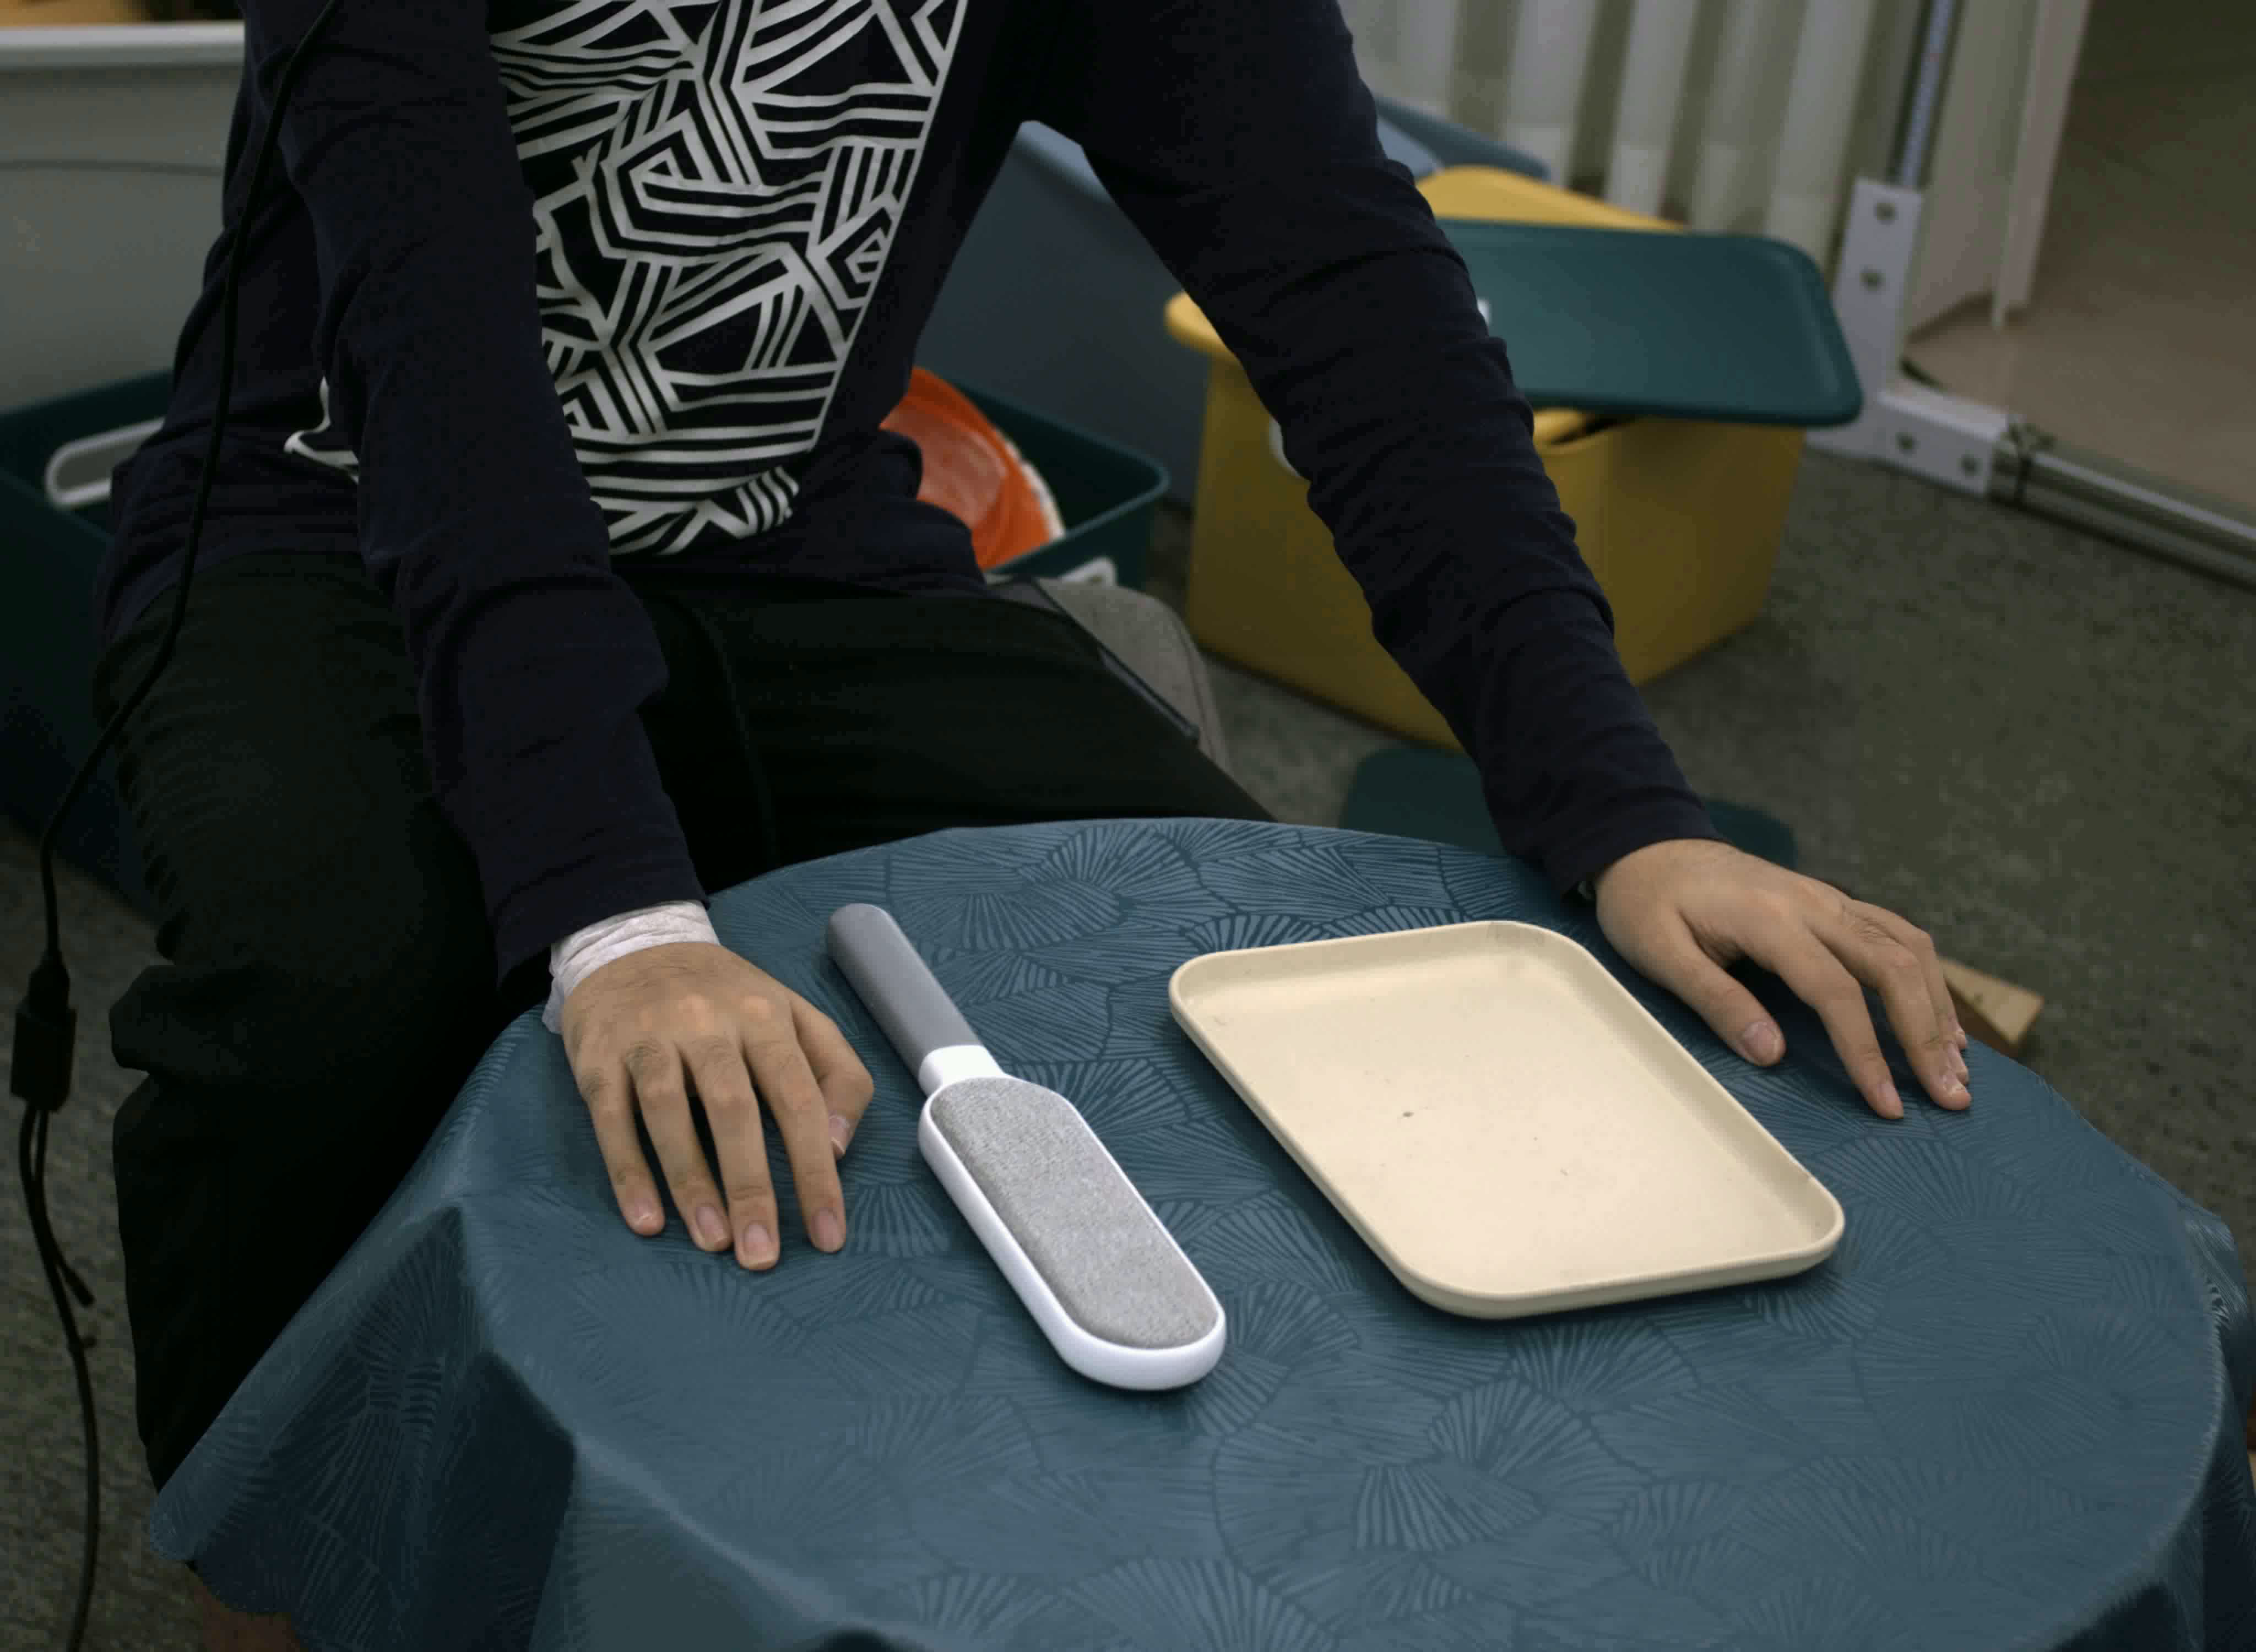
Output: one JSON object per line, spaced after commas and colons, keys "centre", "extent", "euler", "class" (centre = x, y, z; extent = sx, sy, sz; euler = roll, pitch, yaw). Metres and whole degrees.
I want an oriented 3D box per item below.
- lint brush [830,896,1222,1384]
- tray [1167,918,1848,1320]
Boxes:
{"centre": [-0.042, 0.101, 1.811], "extent": [0.060, 0.021, 0.312], "euler": [-10, 30, -19], "class": "lint brush"}
{"centre": [0.129, 0.101, 1.861], "extent": [0.170, 0.017, 0.242], "euler": [-7, 30, -24], "class": "tray"}
